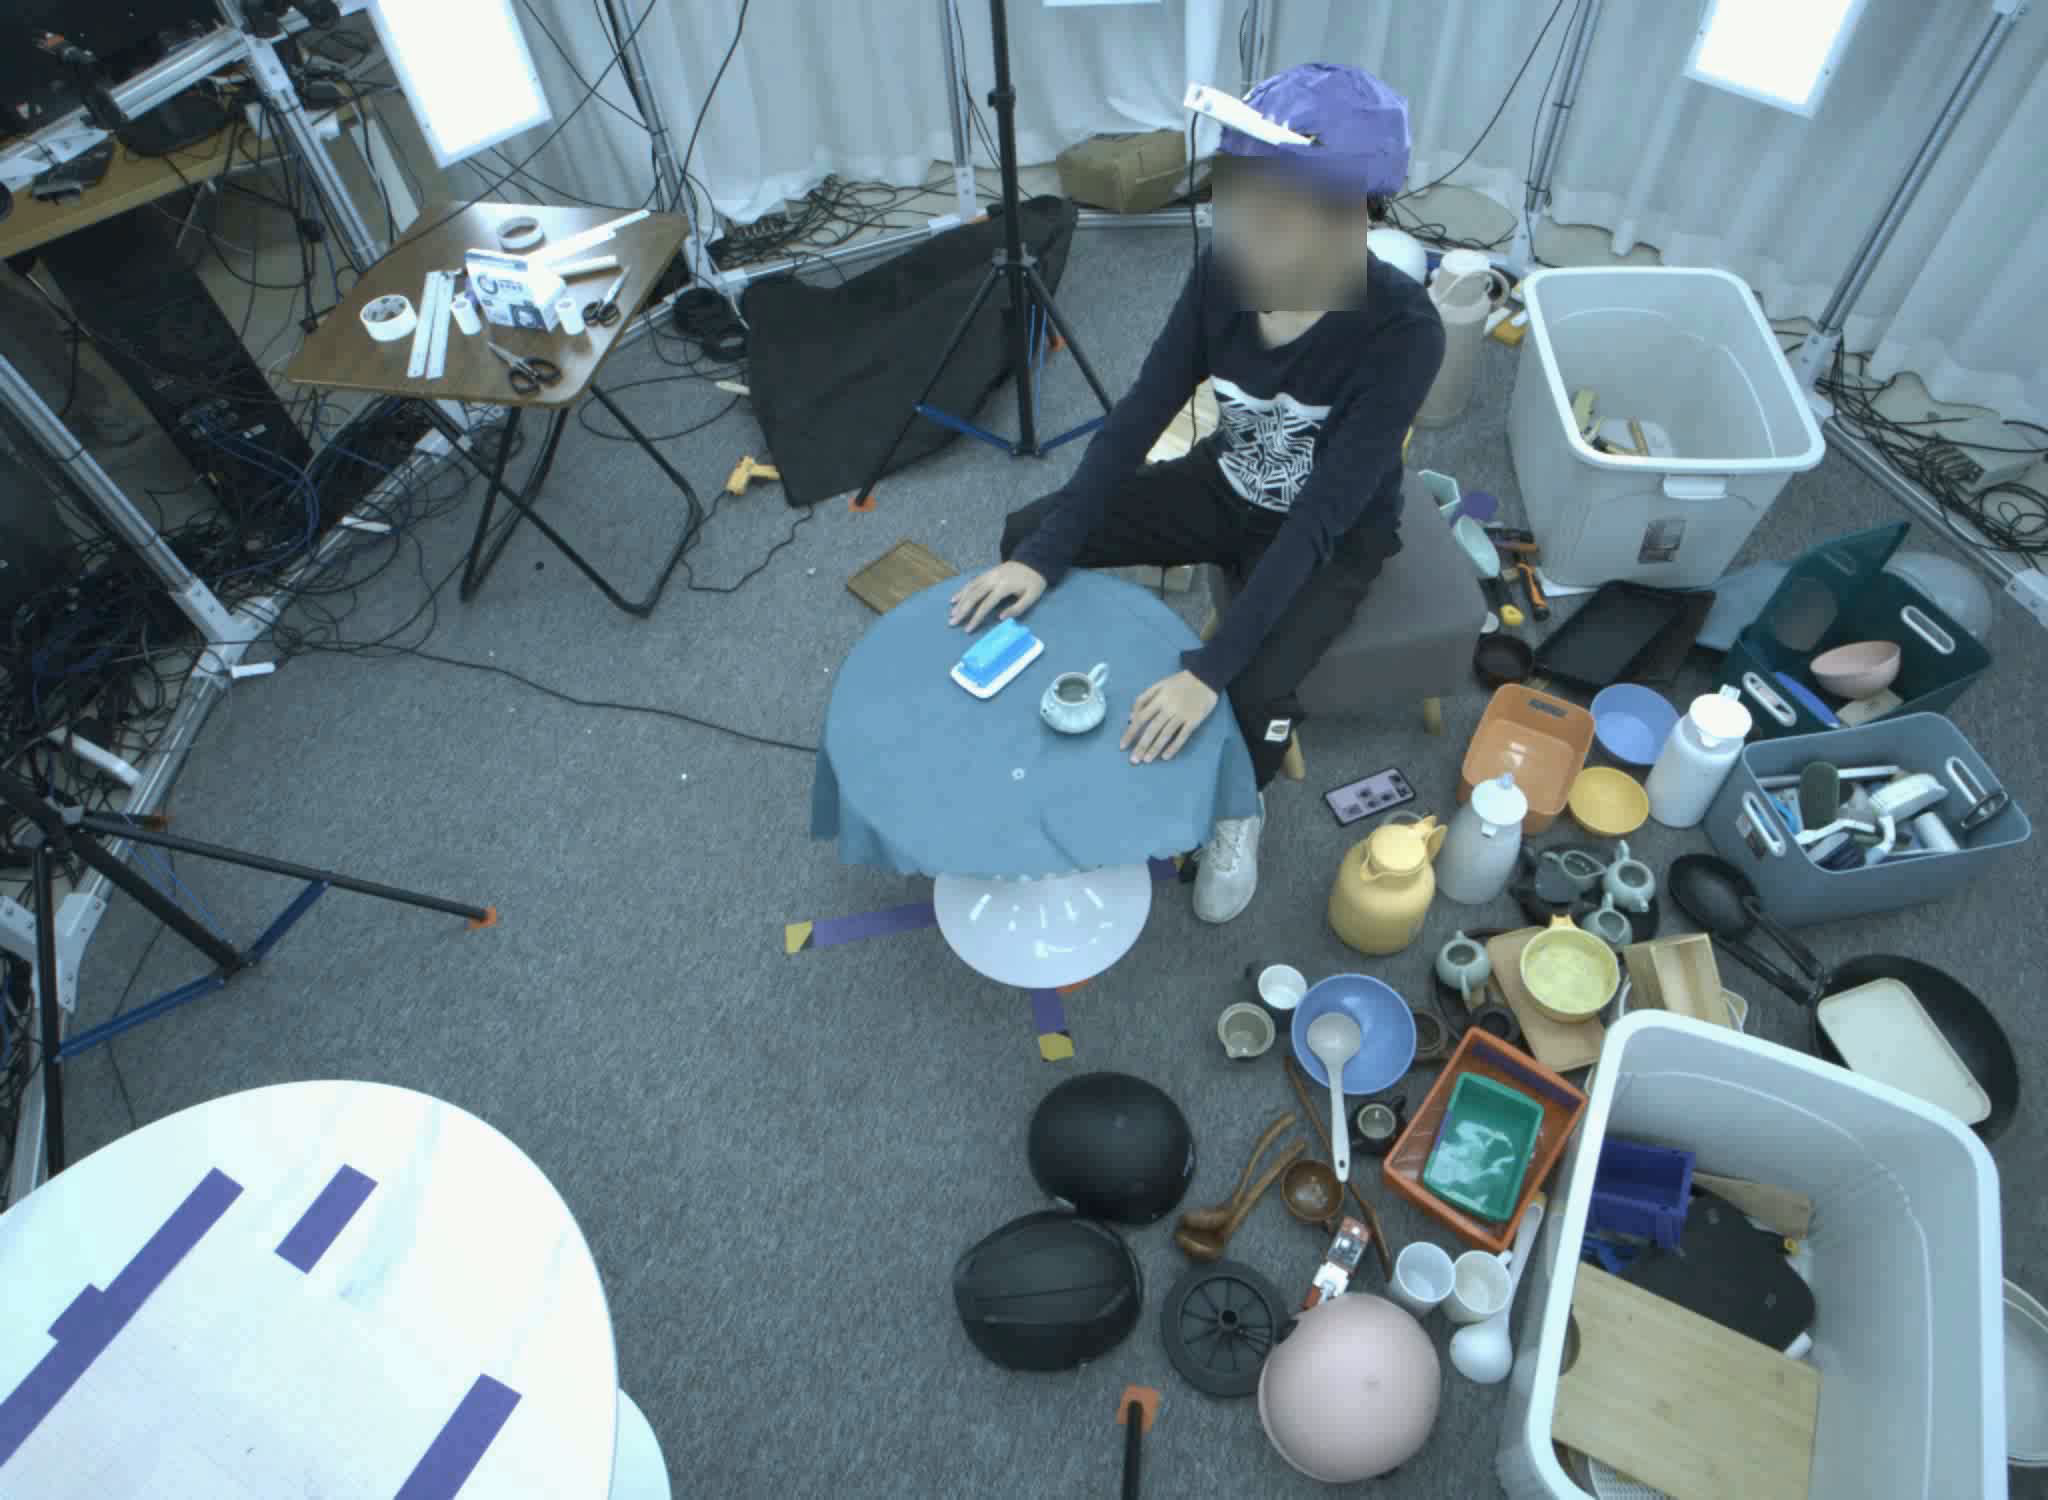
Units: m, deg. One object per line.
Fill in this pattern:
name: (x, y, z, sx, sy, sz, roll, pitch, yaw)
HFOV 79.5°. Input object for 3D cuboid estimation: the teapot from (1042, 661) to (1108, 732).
teapot: (0.076, -0.076, 1.794, 0.094, 0.062, 0.138, 36, 64, 27)

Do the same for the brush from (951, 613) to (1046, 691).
brush: (-0.039, -0.156, 1.855, 0.082, 0.056, 0.145, 39, 67, 23)
